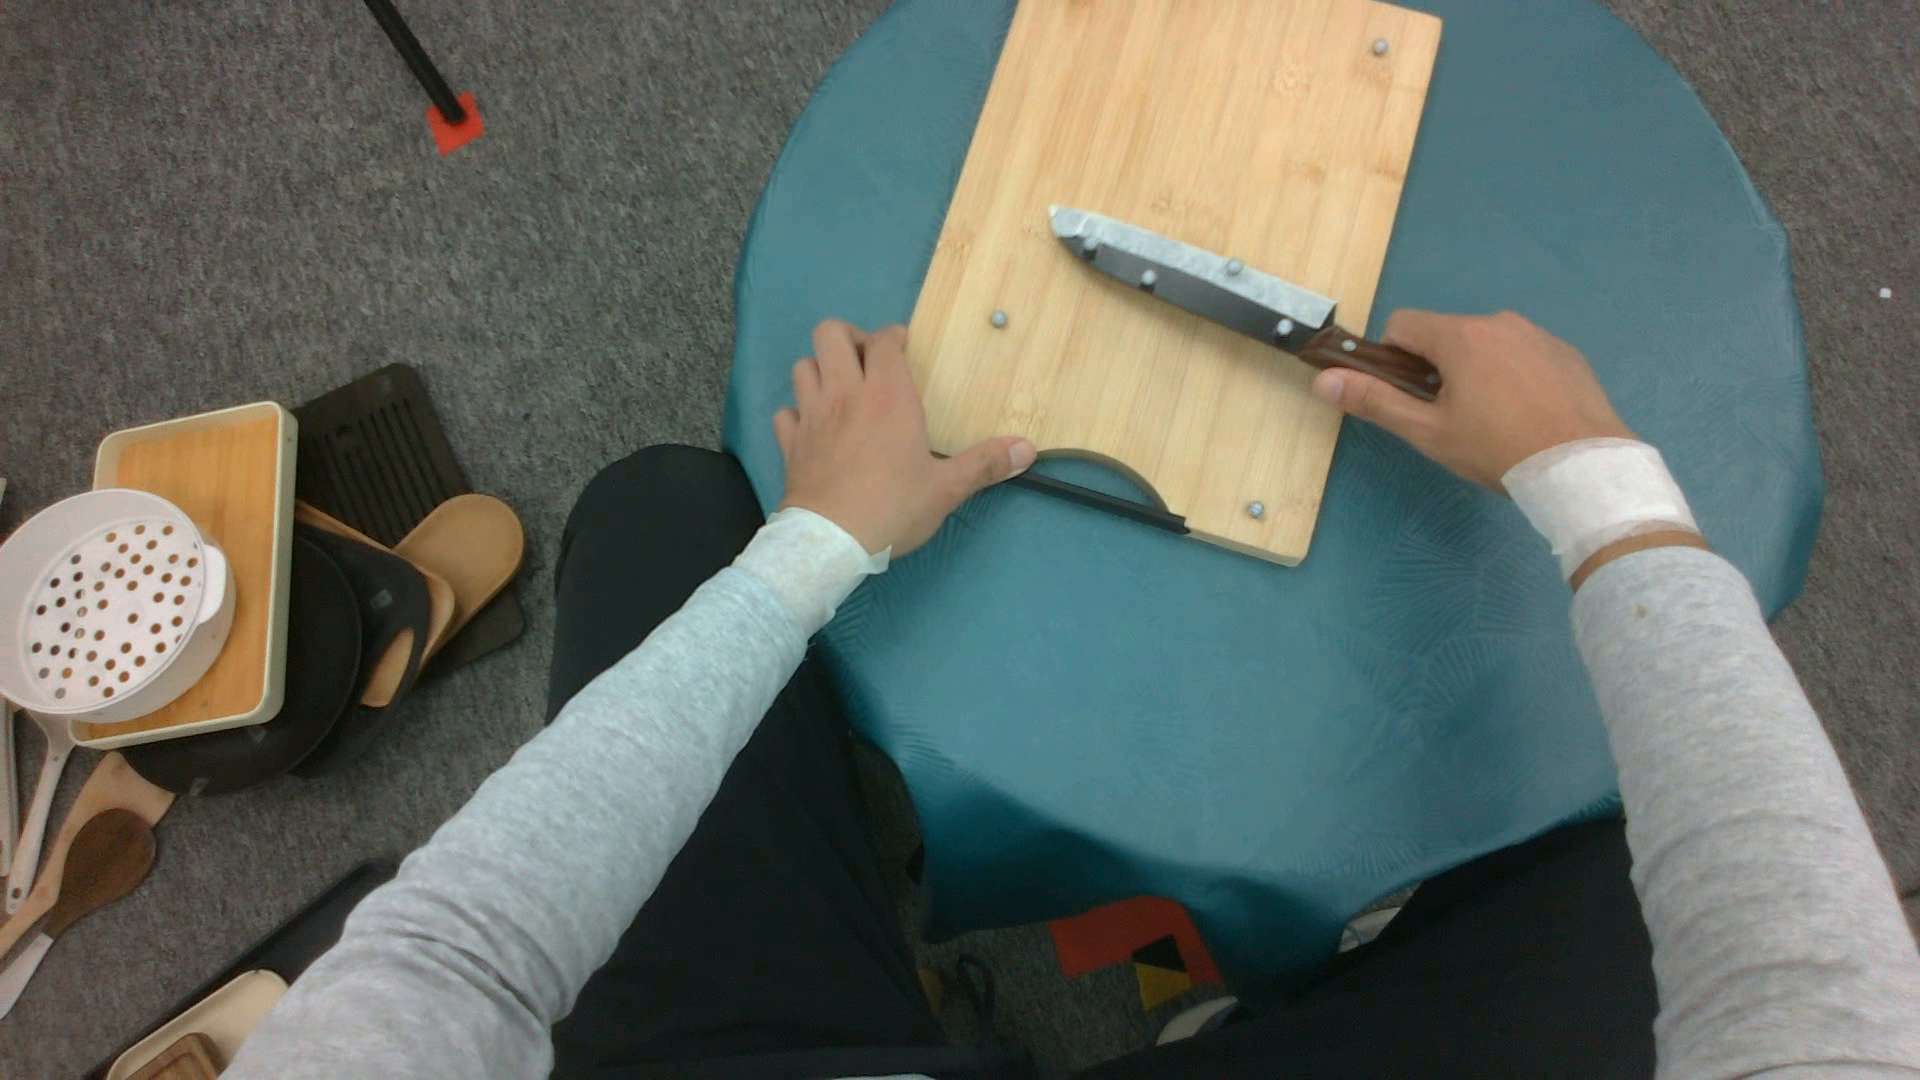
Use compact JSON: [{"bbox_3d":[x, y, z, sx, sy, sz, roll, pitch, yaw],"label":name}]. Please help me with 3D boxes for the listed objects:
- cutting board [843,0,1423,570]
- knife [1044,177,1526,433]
[{"bbox_3d":[0.105,-0.178,0.780,0.250,0.023,0.349,16,75,4],"label":"cutting board"},{"bbox_3d":[0.166,-0.131,0.735,0.289,0.020,0.050,31,61,16],"label":"knife"}]
